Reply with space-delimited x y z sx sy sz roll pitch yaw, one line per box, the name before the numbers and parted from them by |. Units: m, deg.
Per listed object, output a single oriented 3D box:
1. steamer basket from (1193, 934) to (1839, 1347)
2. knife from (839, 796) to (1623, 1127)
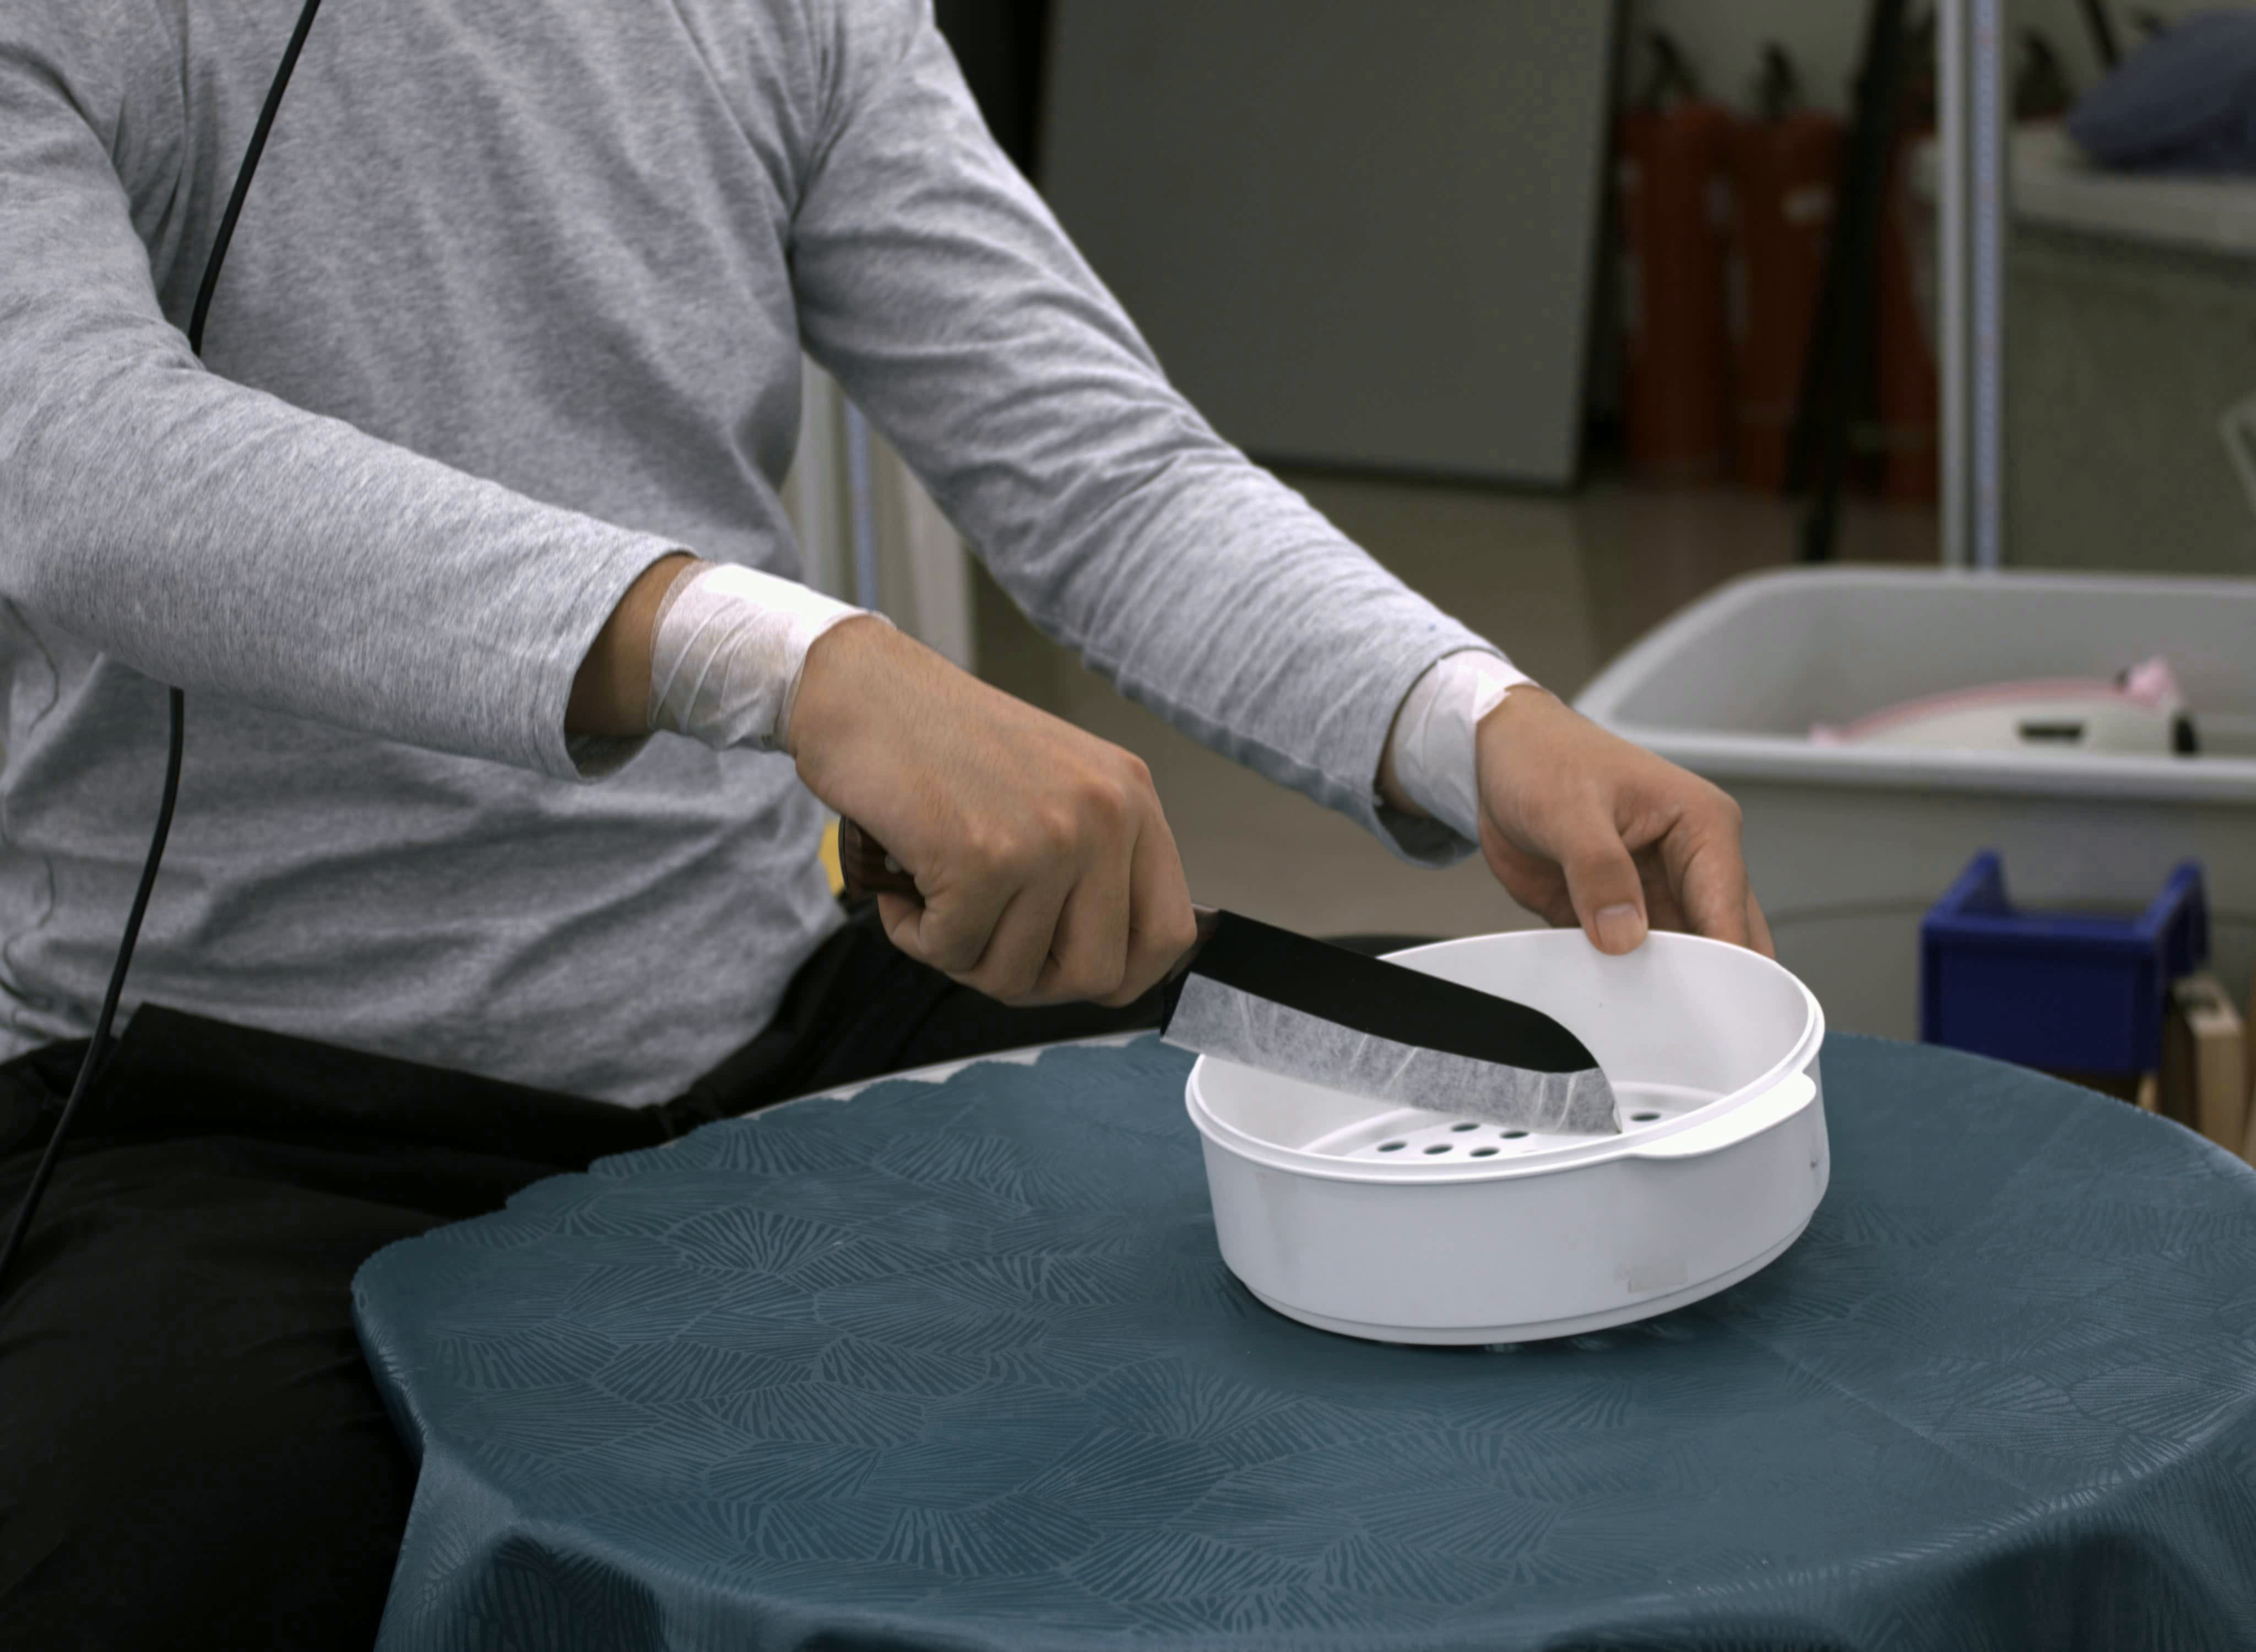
steamer basket | 0.122 0.097 1.667 0.198 0.070 0.233 -21 20 -34
knife | 0.036 0.044 1.632 0.283 0.051 0.020 21 3 -25
